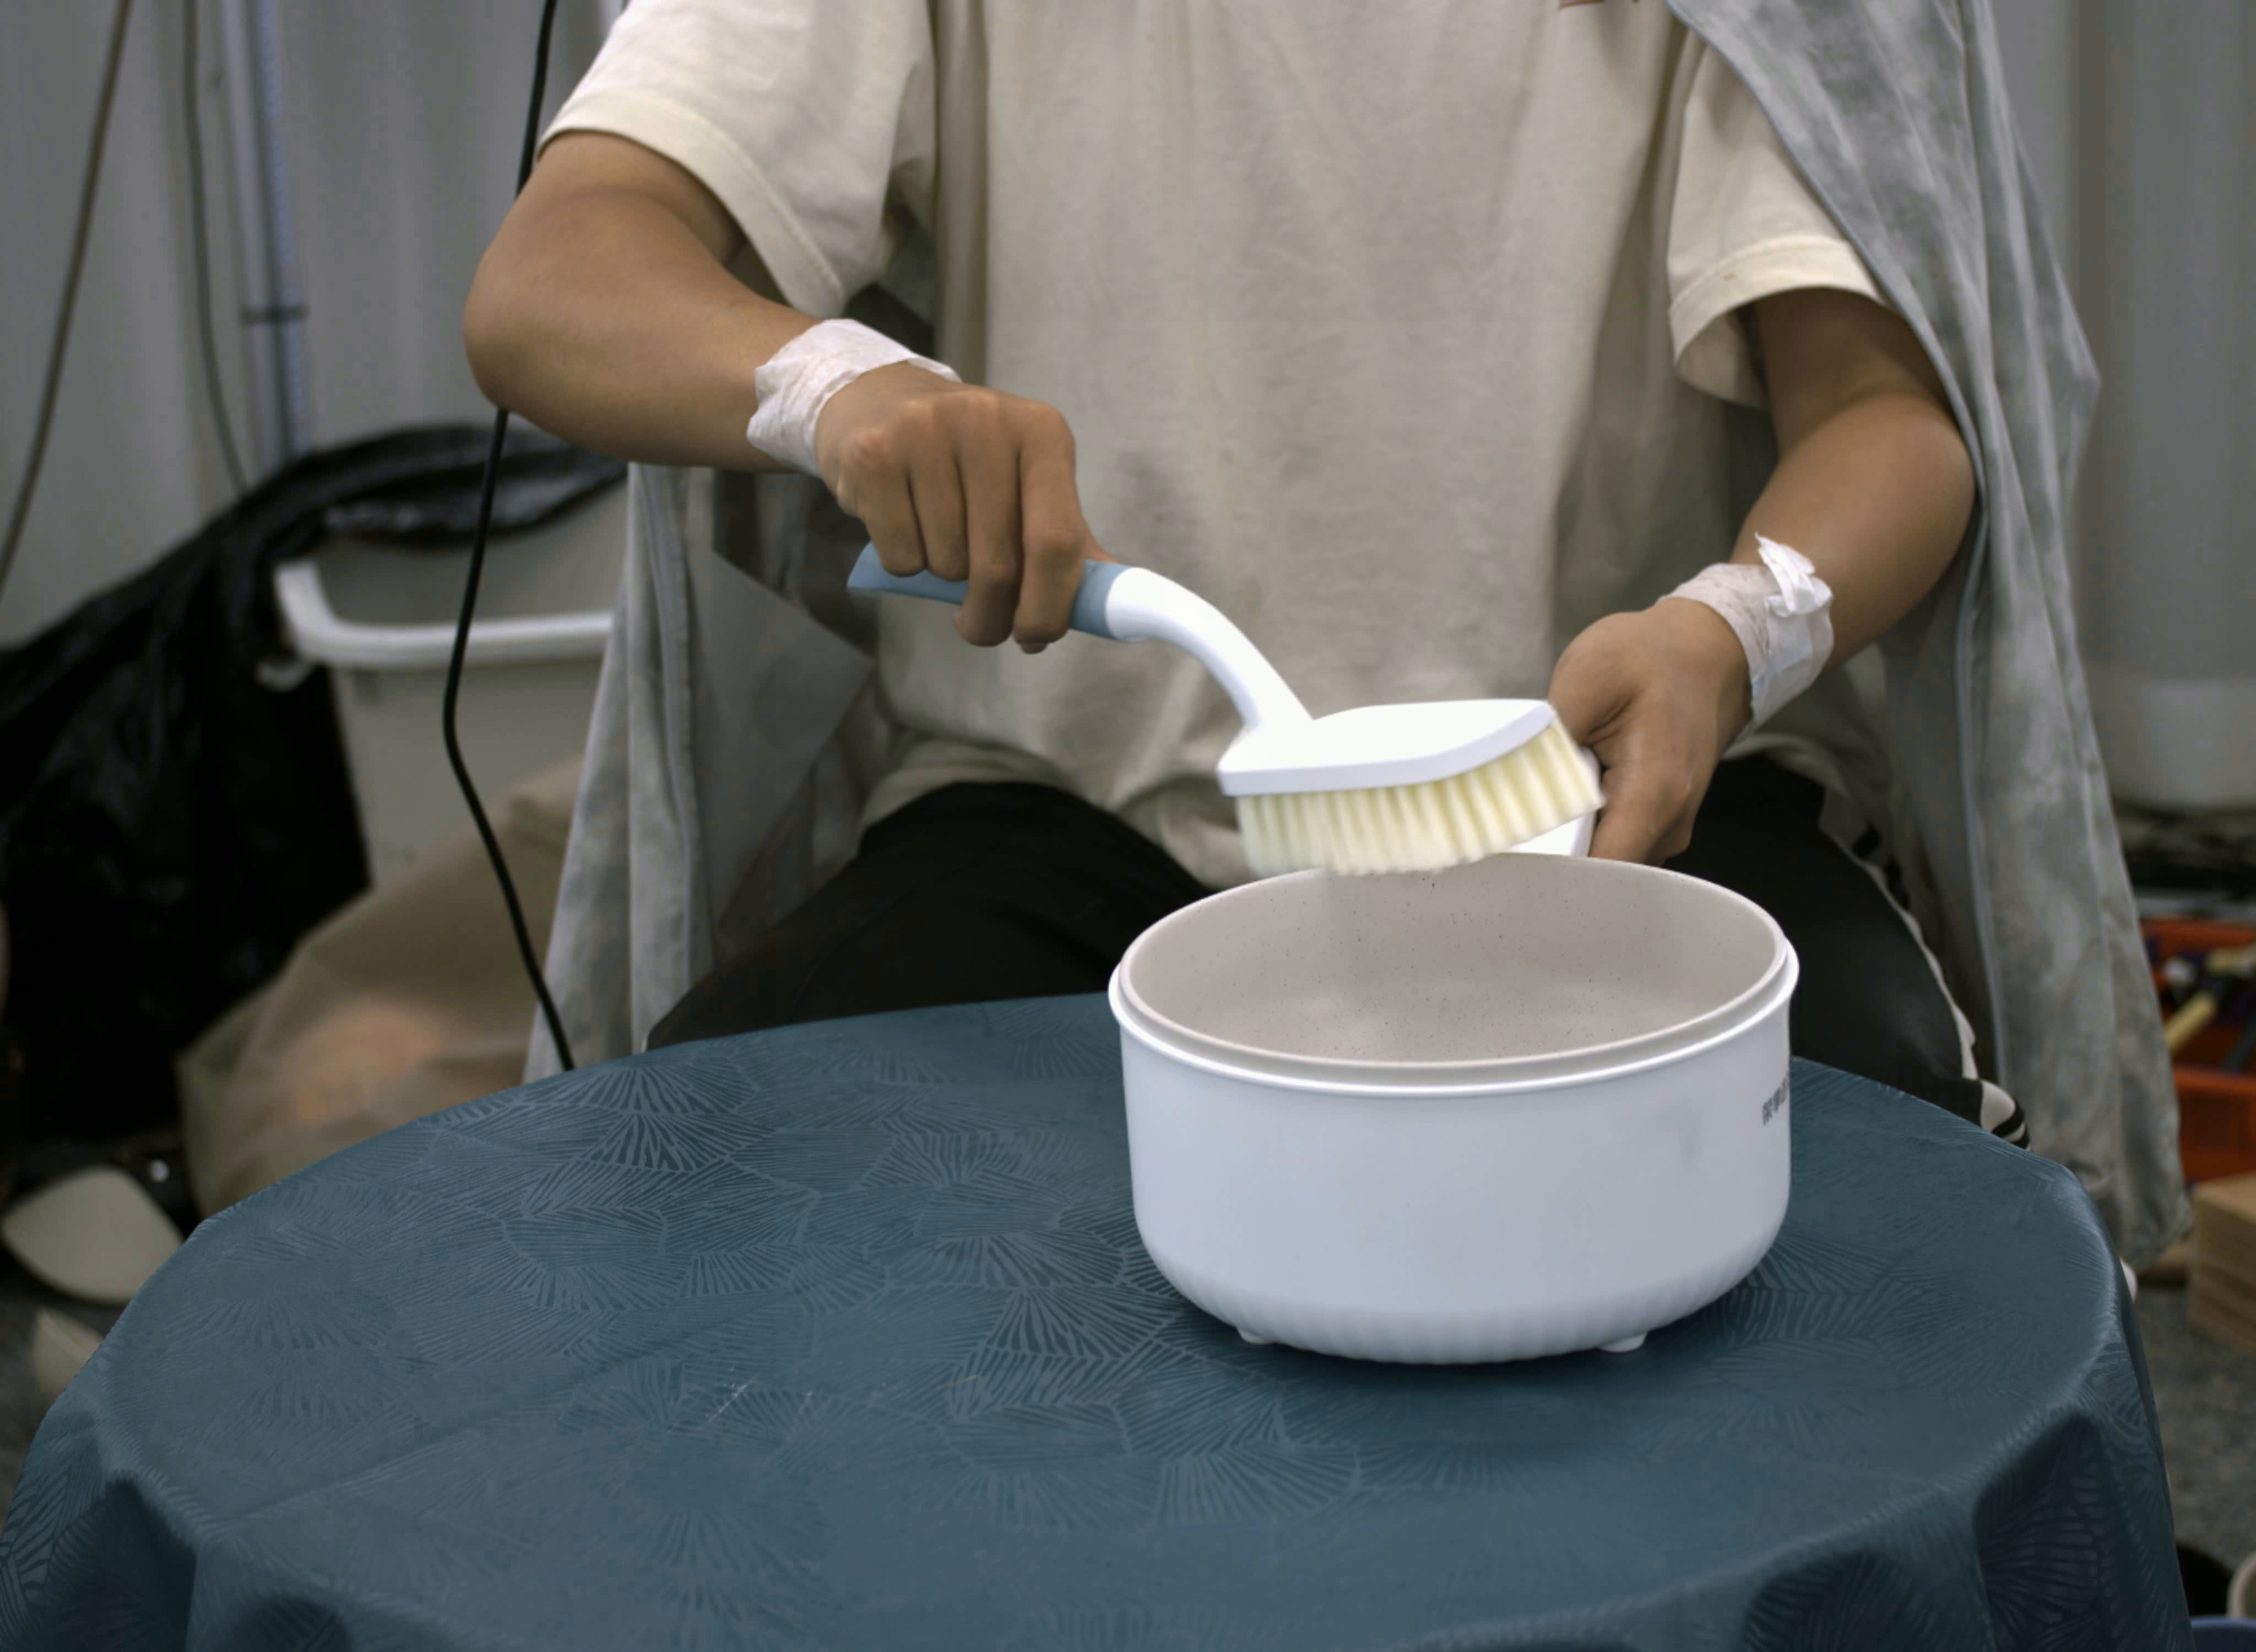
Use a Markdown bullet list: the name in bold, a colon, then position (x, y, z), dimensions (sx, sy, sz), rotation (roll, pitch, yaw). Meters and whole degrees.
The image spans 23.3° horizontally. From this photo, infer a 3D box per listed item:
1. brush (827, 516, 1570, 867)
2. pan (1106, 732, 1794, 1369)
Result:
- **brush**: position (0.019, -0.032, 1.761), dimensions (0.327, 0.085, 0.082), rotation (14, -11, 46)
- **pan**: position (0.110, 0.064, 1.681), dimensions (0.201, 0.101, 0.357), rotation (-1, 16, 11)
